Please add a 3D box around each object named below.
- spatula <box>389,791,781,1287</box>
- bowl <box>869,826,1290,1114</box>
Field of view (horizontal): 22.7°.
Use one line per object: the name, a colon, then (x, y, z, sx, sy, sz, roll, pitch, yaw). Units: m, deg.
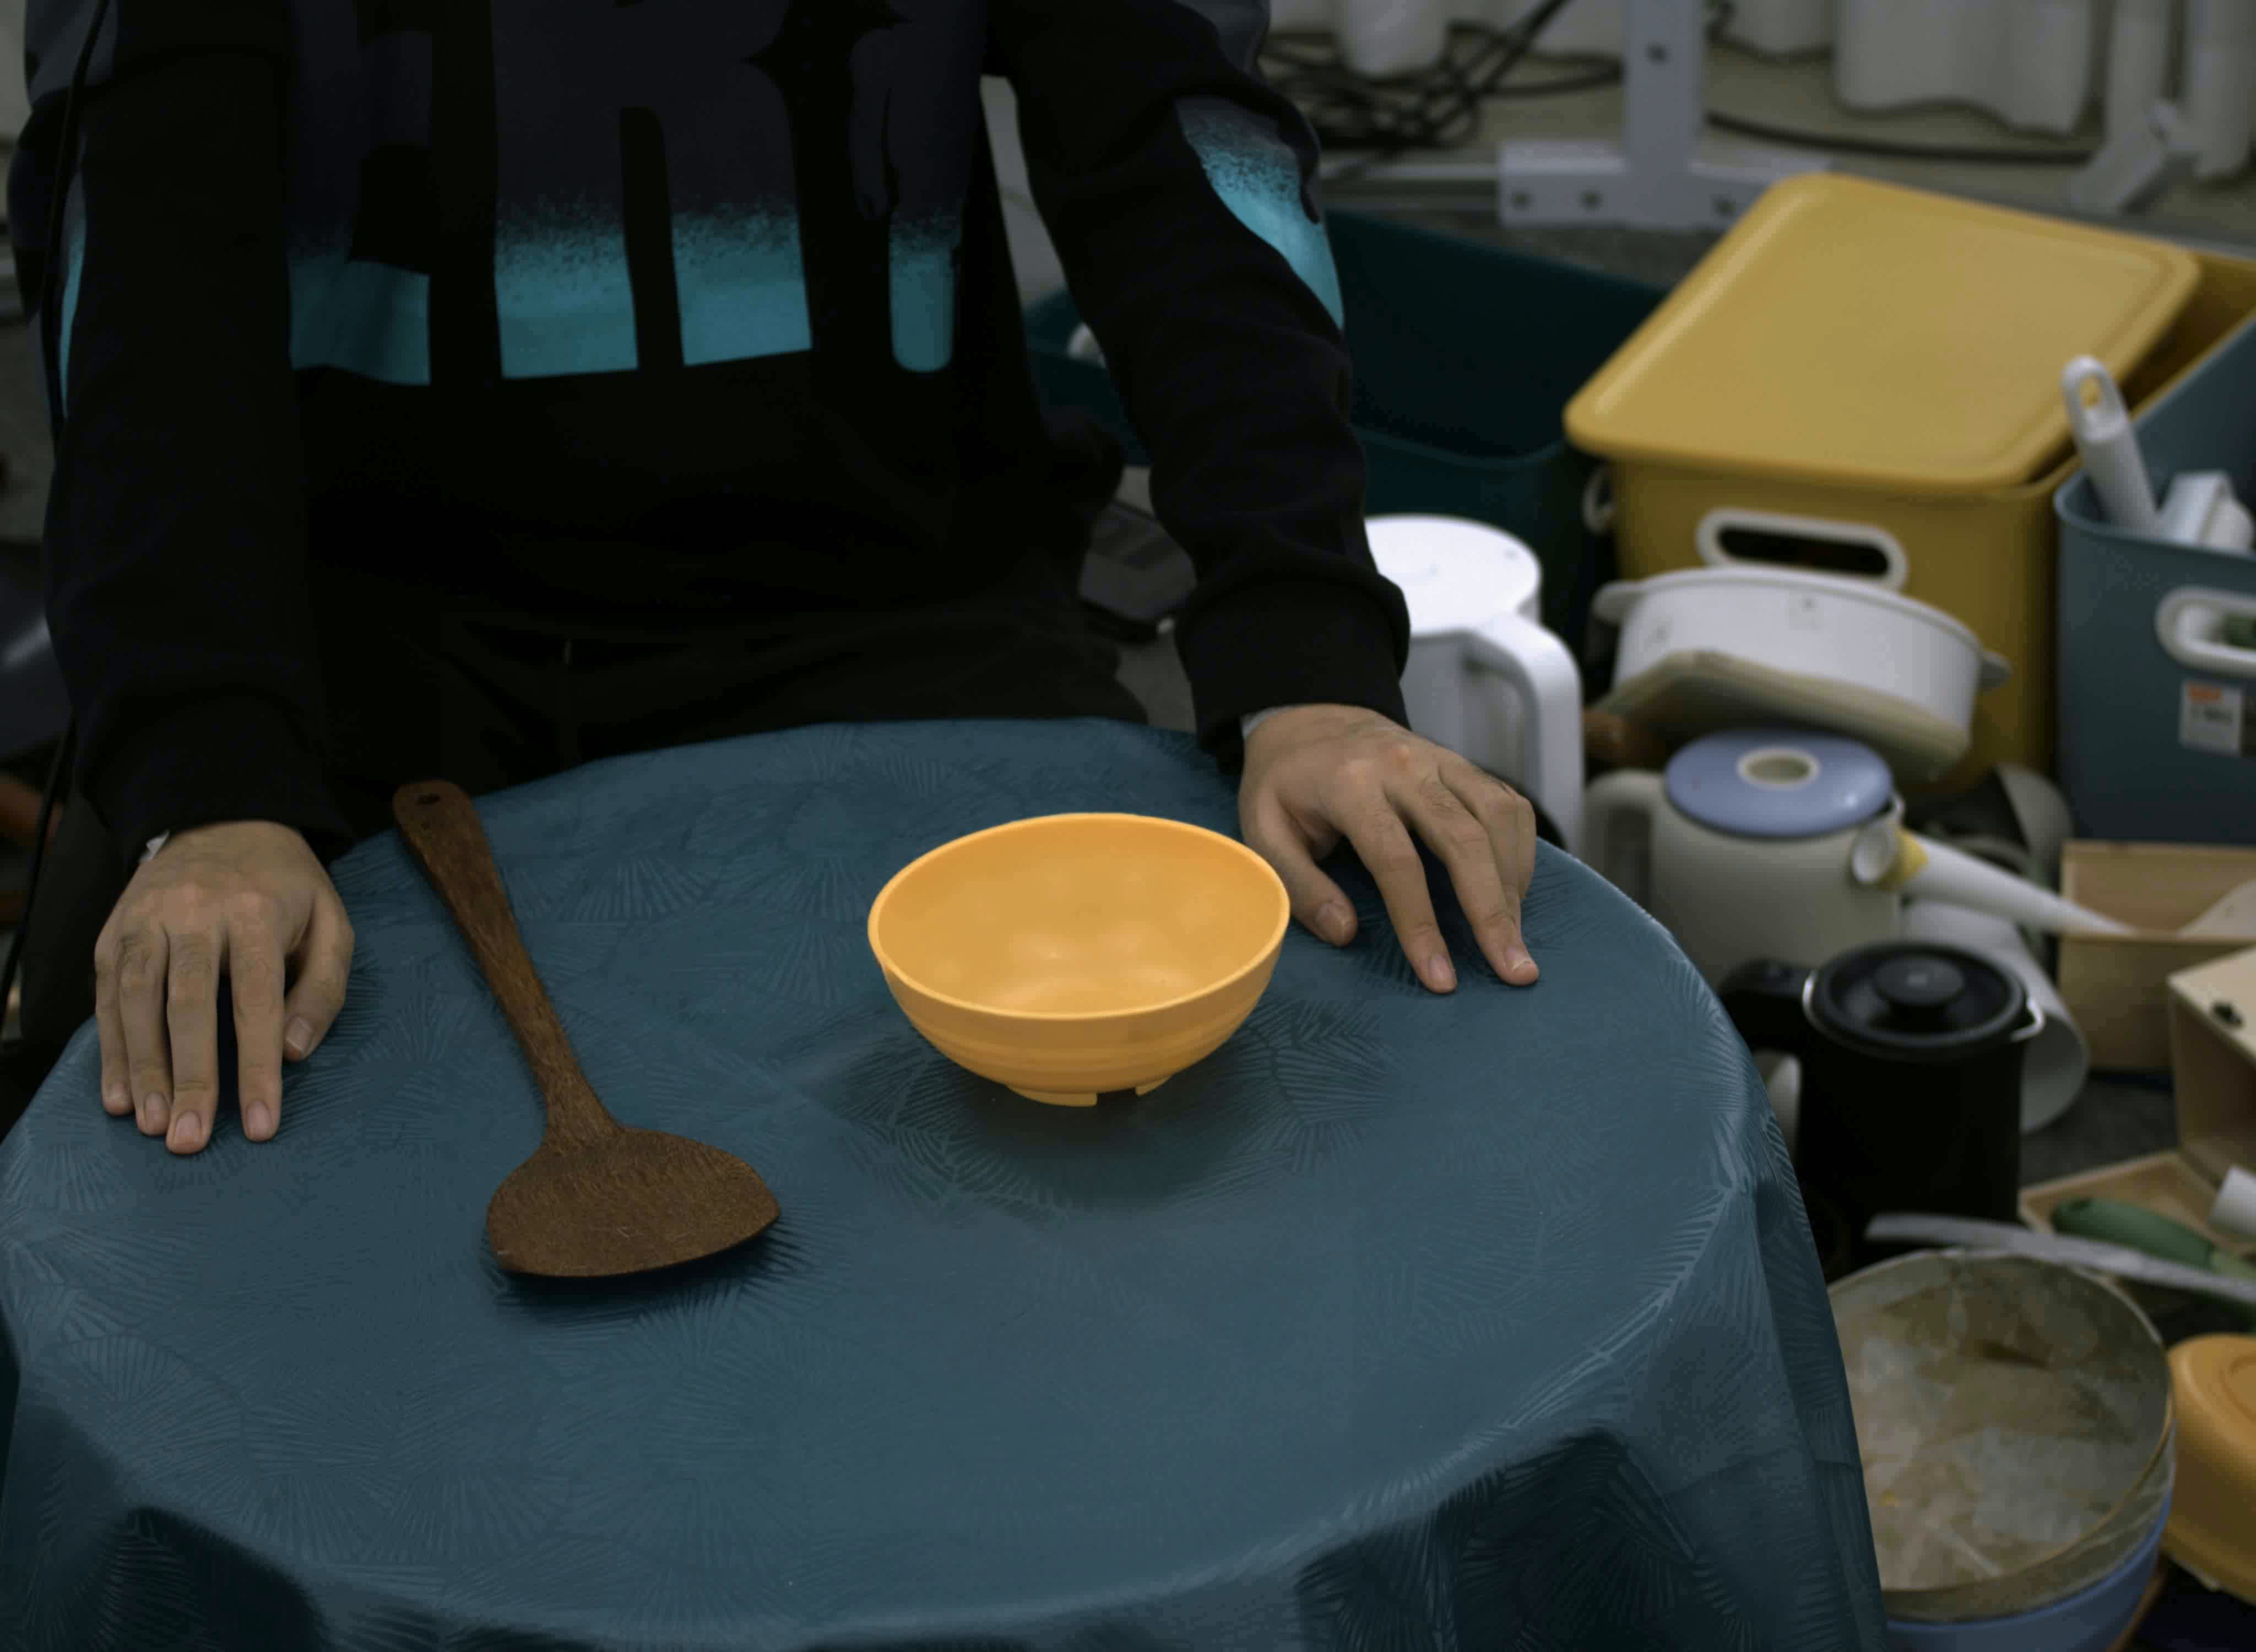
spatula: (-0.211, 0.067, 1.976, 0.096, 0.015, 0.389, -10, 28, -15)
bowl: (-0.016, 0.057, 1.928, 0.144, 0.059, 0.147, -1, 25, 1)
